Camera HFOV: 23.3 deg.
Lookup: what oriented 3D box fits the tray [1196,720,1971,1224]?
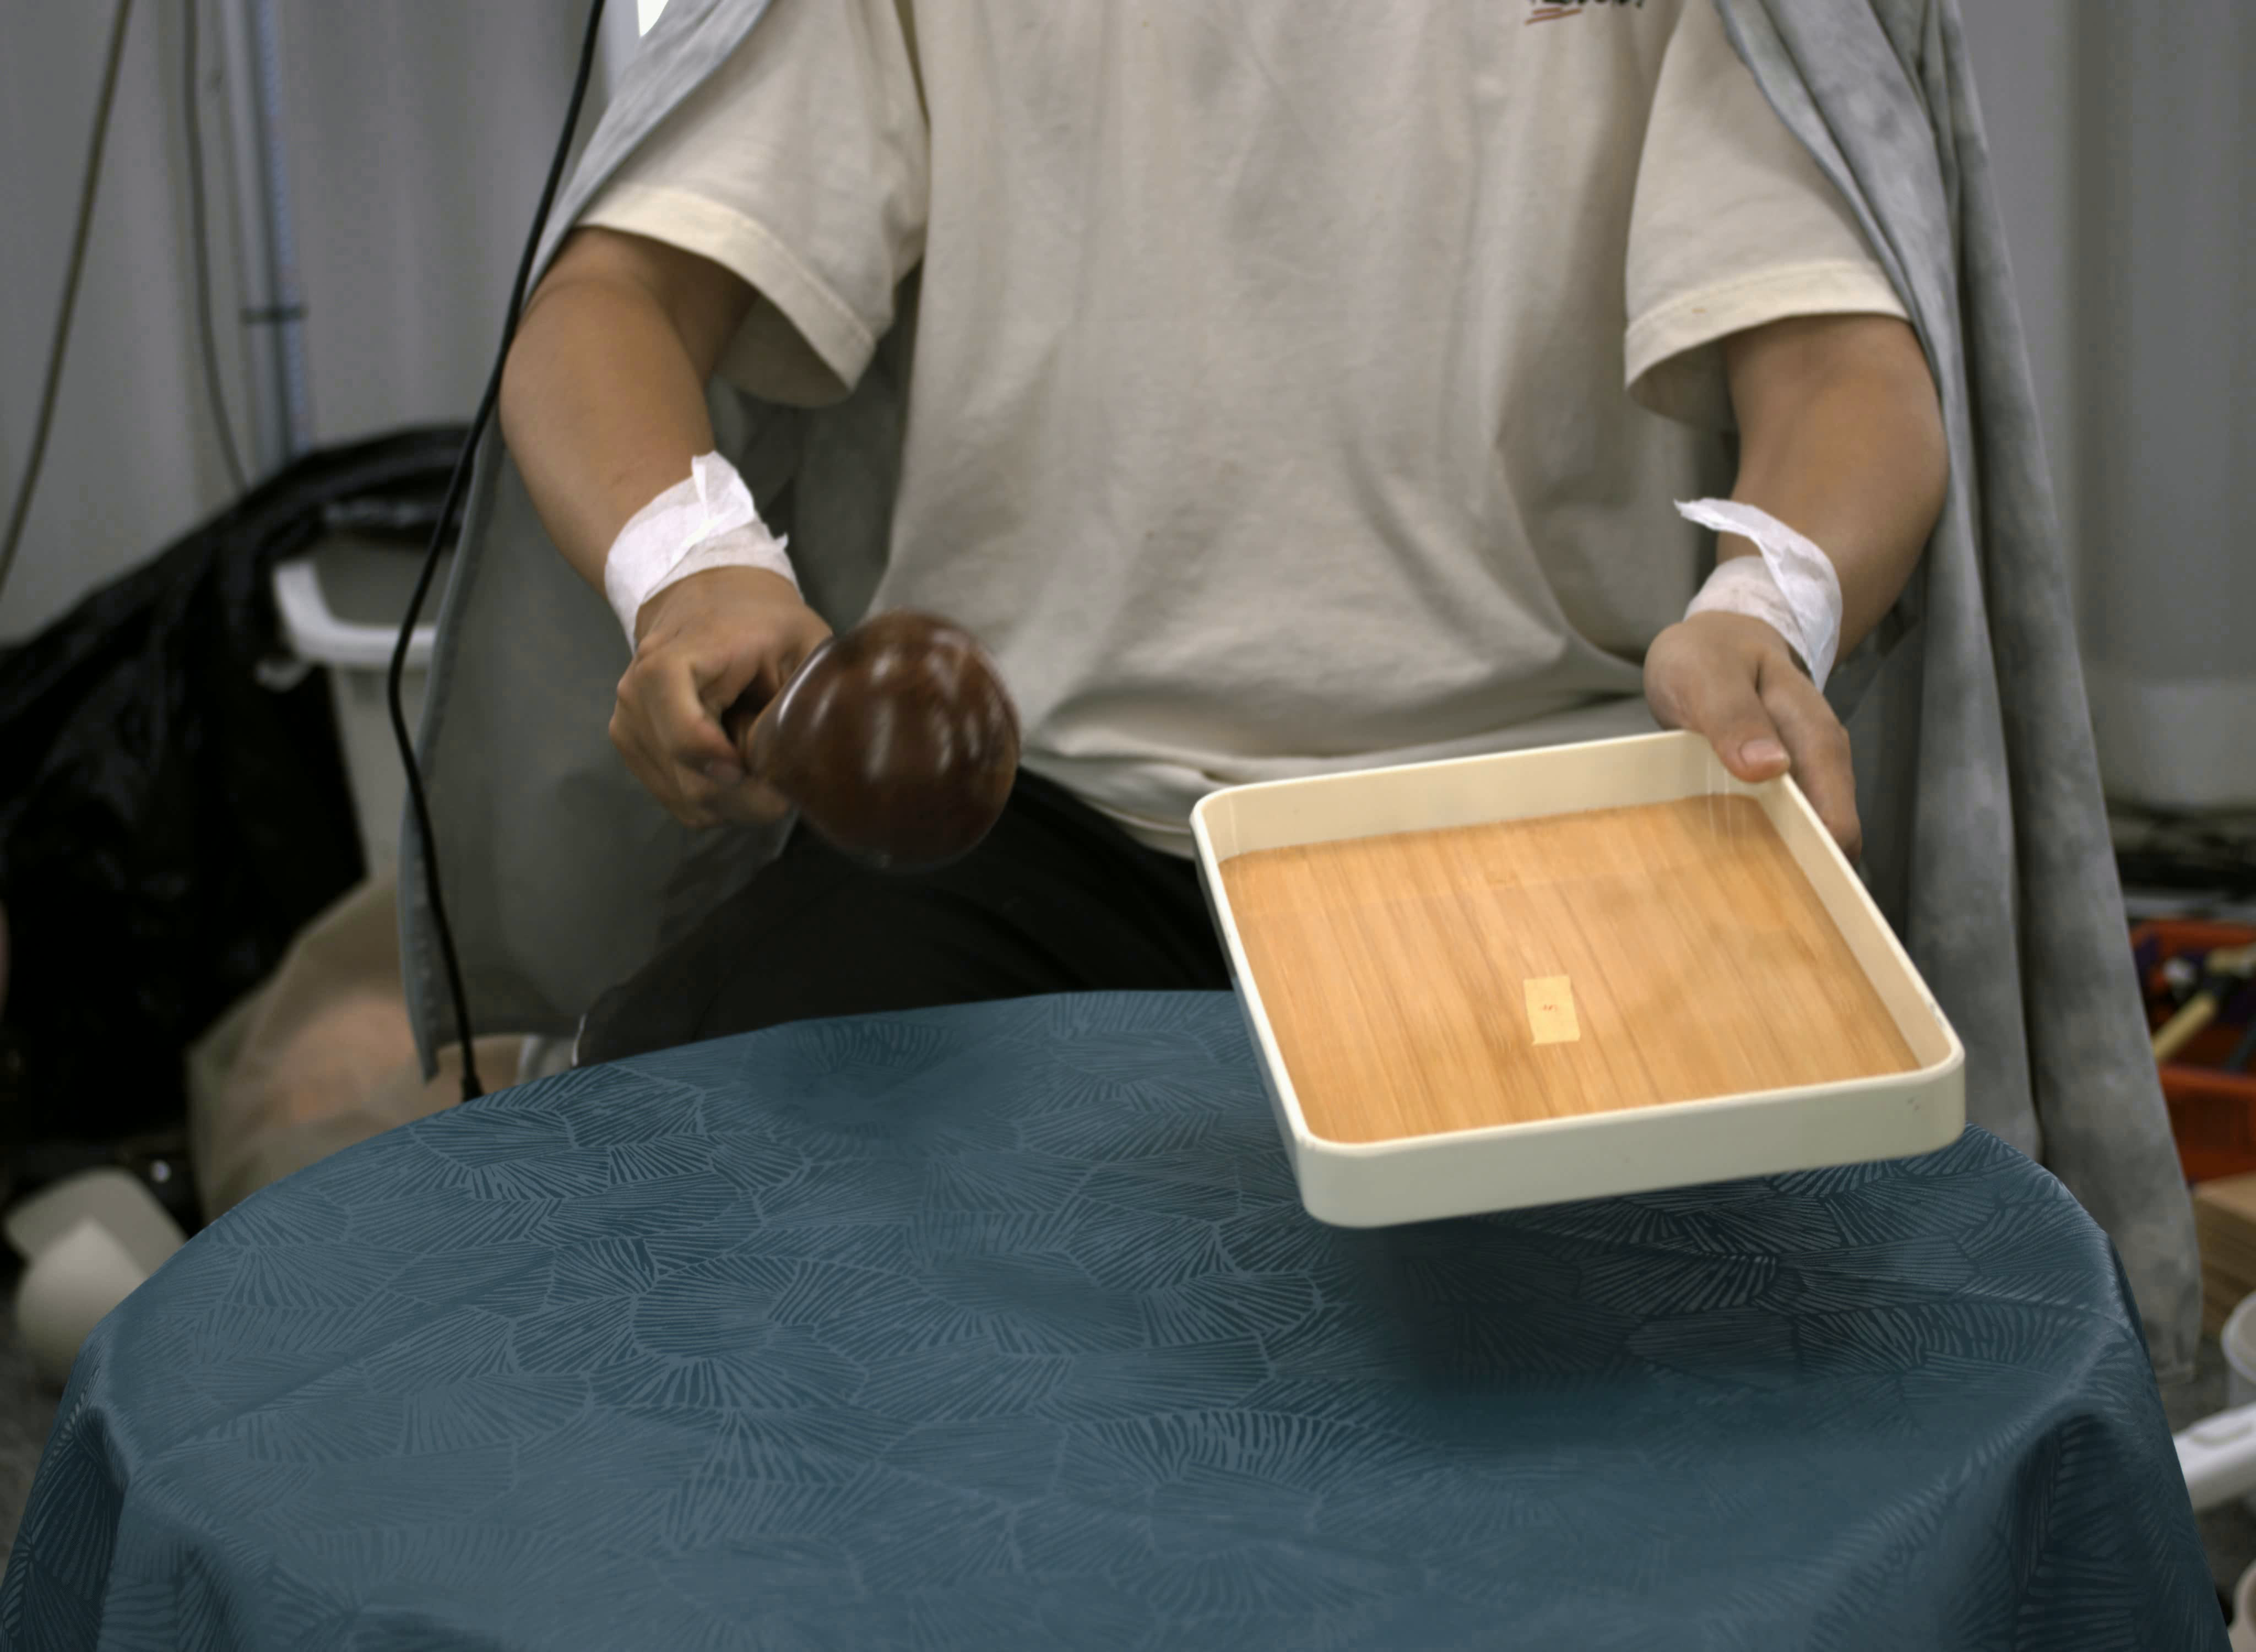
[{"bbox_3d":[0.129,0.039,1.651,0.191,0.027,0.303,-8,20,-3],"label":"tray"}]

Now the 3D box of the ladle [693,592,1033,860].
[{"bbox_3d":[-0.089,-0.029,1.775,0.076,0.082,0.274,5,-2,-10],"label":"ladle"}]
